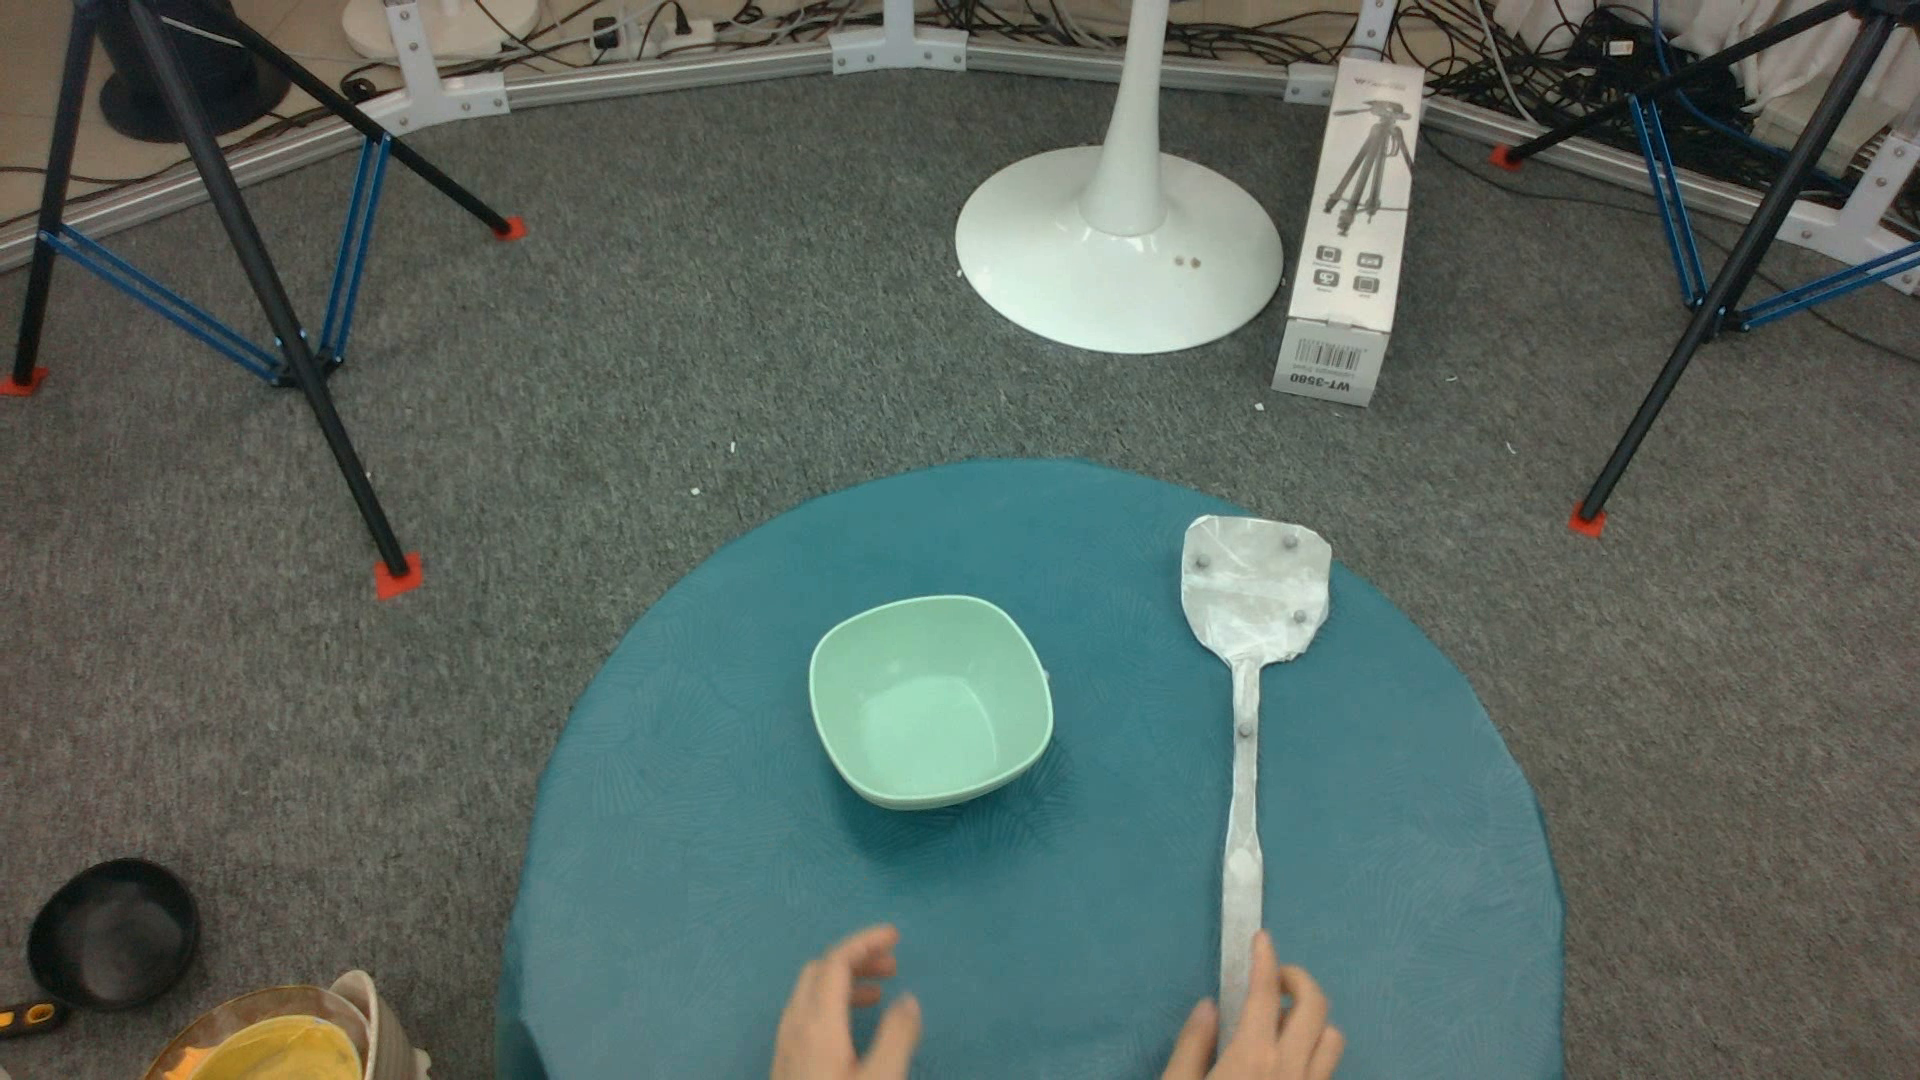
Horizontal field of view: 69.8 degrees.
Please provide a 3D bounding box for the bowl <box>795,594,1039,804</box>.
[{"bbox_3d":[-0.027,0.104,0.824,0.151,0.058,0.152,2,47,-2],"label":"bowl"}]

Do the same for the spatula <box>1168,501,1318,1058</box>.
[{"bbox_3d":[0.160,0.126,0.827,0.098,0.044,0.367,11,50,4],"label":"spatula"}]
